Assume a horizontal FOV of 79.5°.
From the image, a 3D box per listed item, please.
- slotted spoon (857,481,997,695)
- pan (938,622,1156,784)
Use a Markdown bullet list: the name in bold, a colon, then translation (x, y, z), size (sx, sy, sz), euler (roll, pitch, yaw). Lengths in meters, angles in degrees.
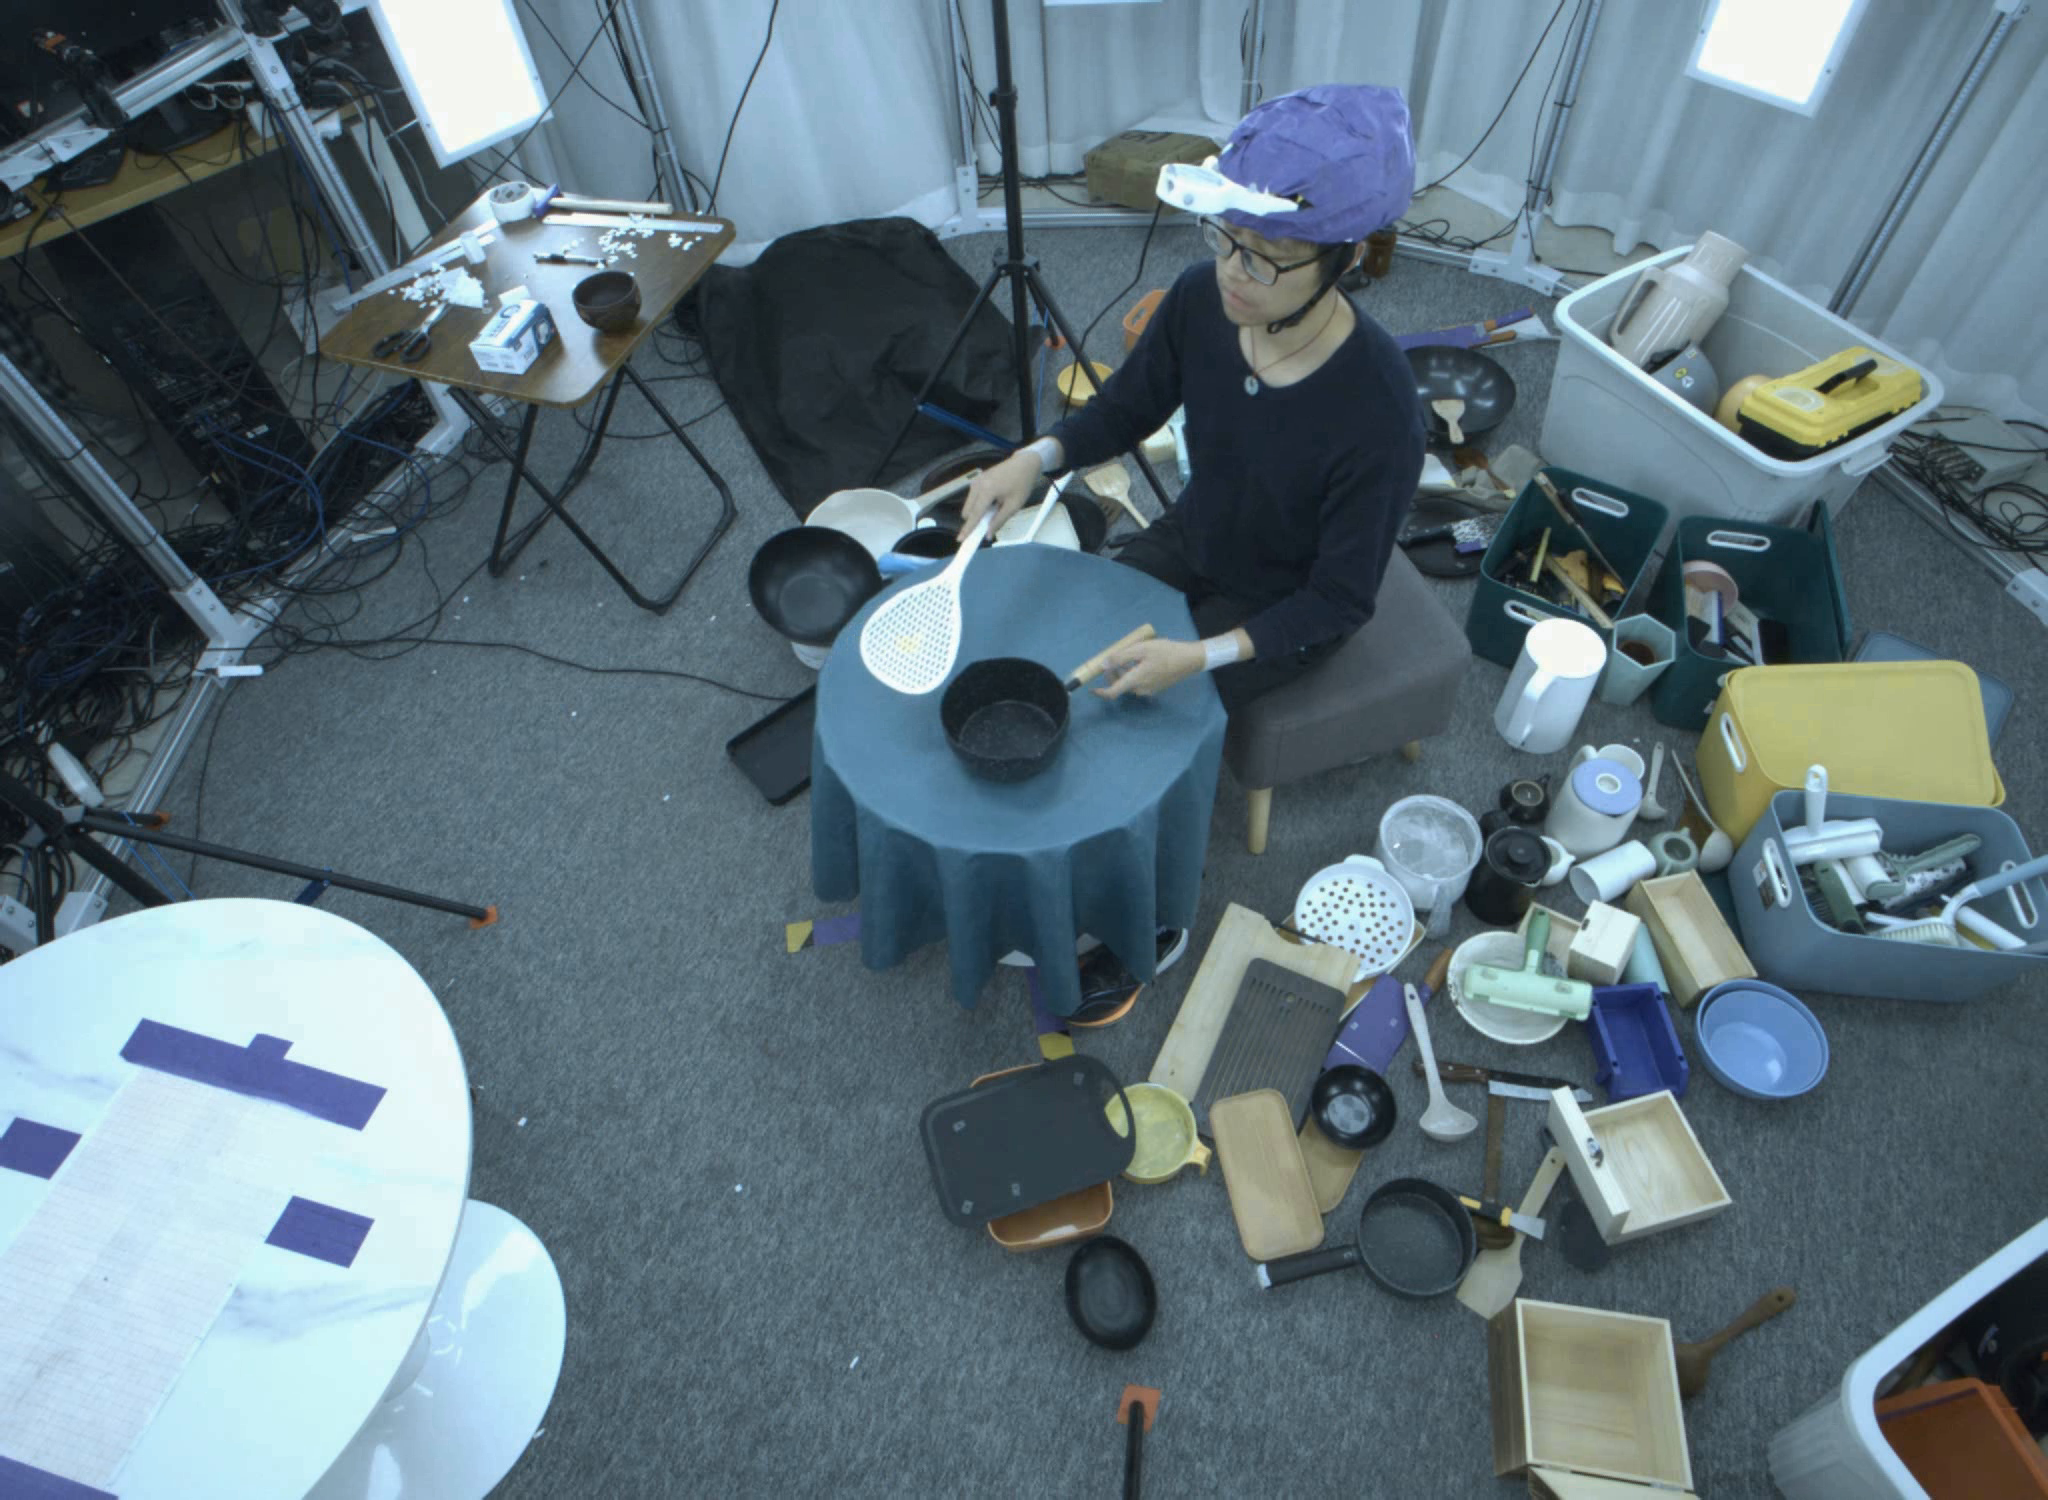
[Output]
- **slotted spoon**: translation (-0.117, -0.241, 1.764), size (0.138, 0.050, 0.348), euler (30, 84, -10)
- **pan**: translation (0.042, -0.079, 1.775), size (0.345, 0.109, 0.203), euler (-28, 57, -15)
